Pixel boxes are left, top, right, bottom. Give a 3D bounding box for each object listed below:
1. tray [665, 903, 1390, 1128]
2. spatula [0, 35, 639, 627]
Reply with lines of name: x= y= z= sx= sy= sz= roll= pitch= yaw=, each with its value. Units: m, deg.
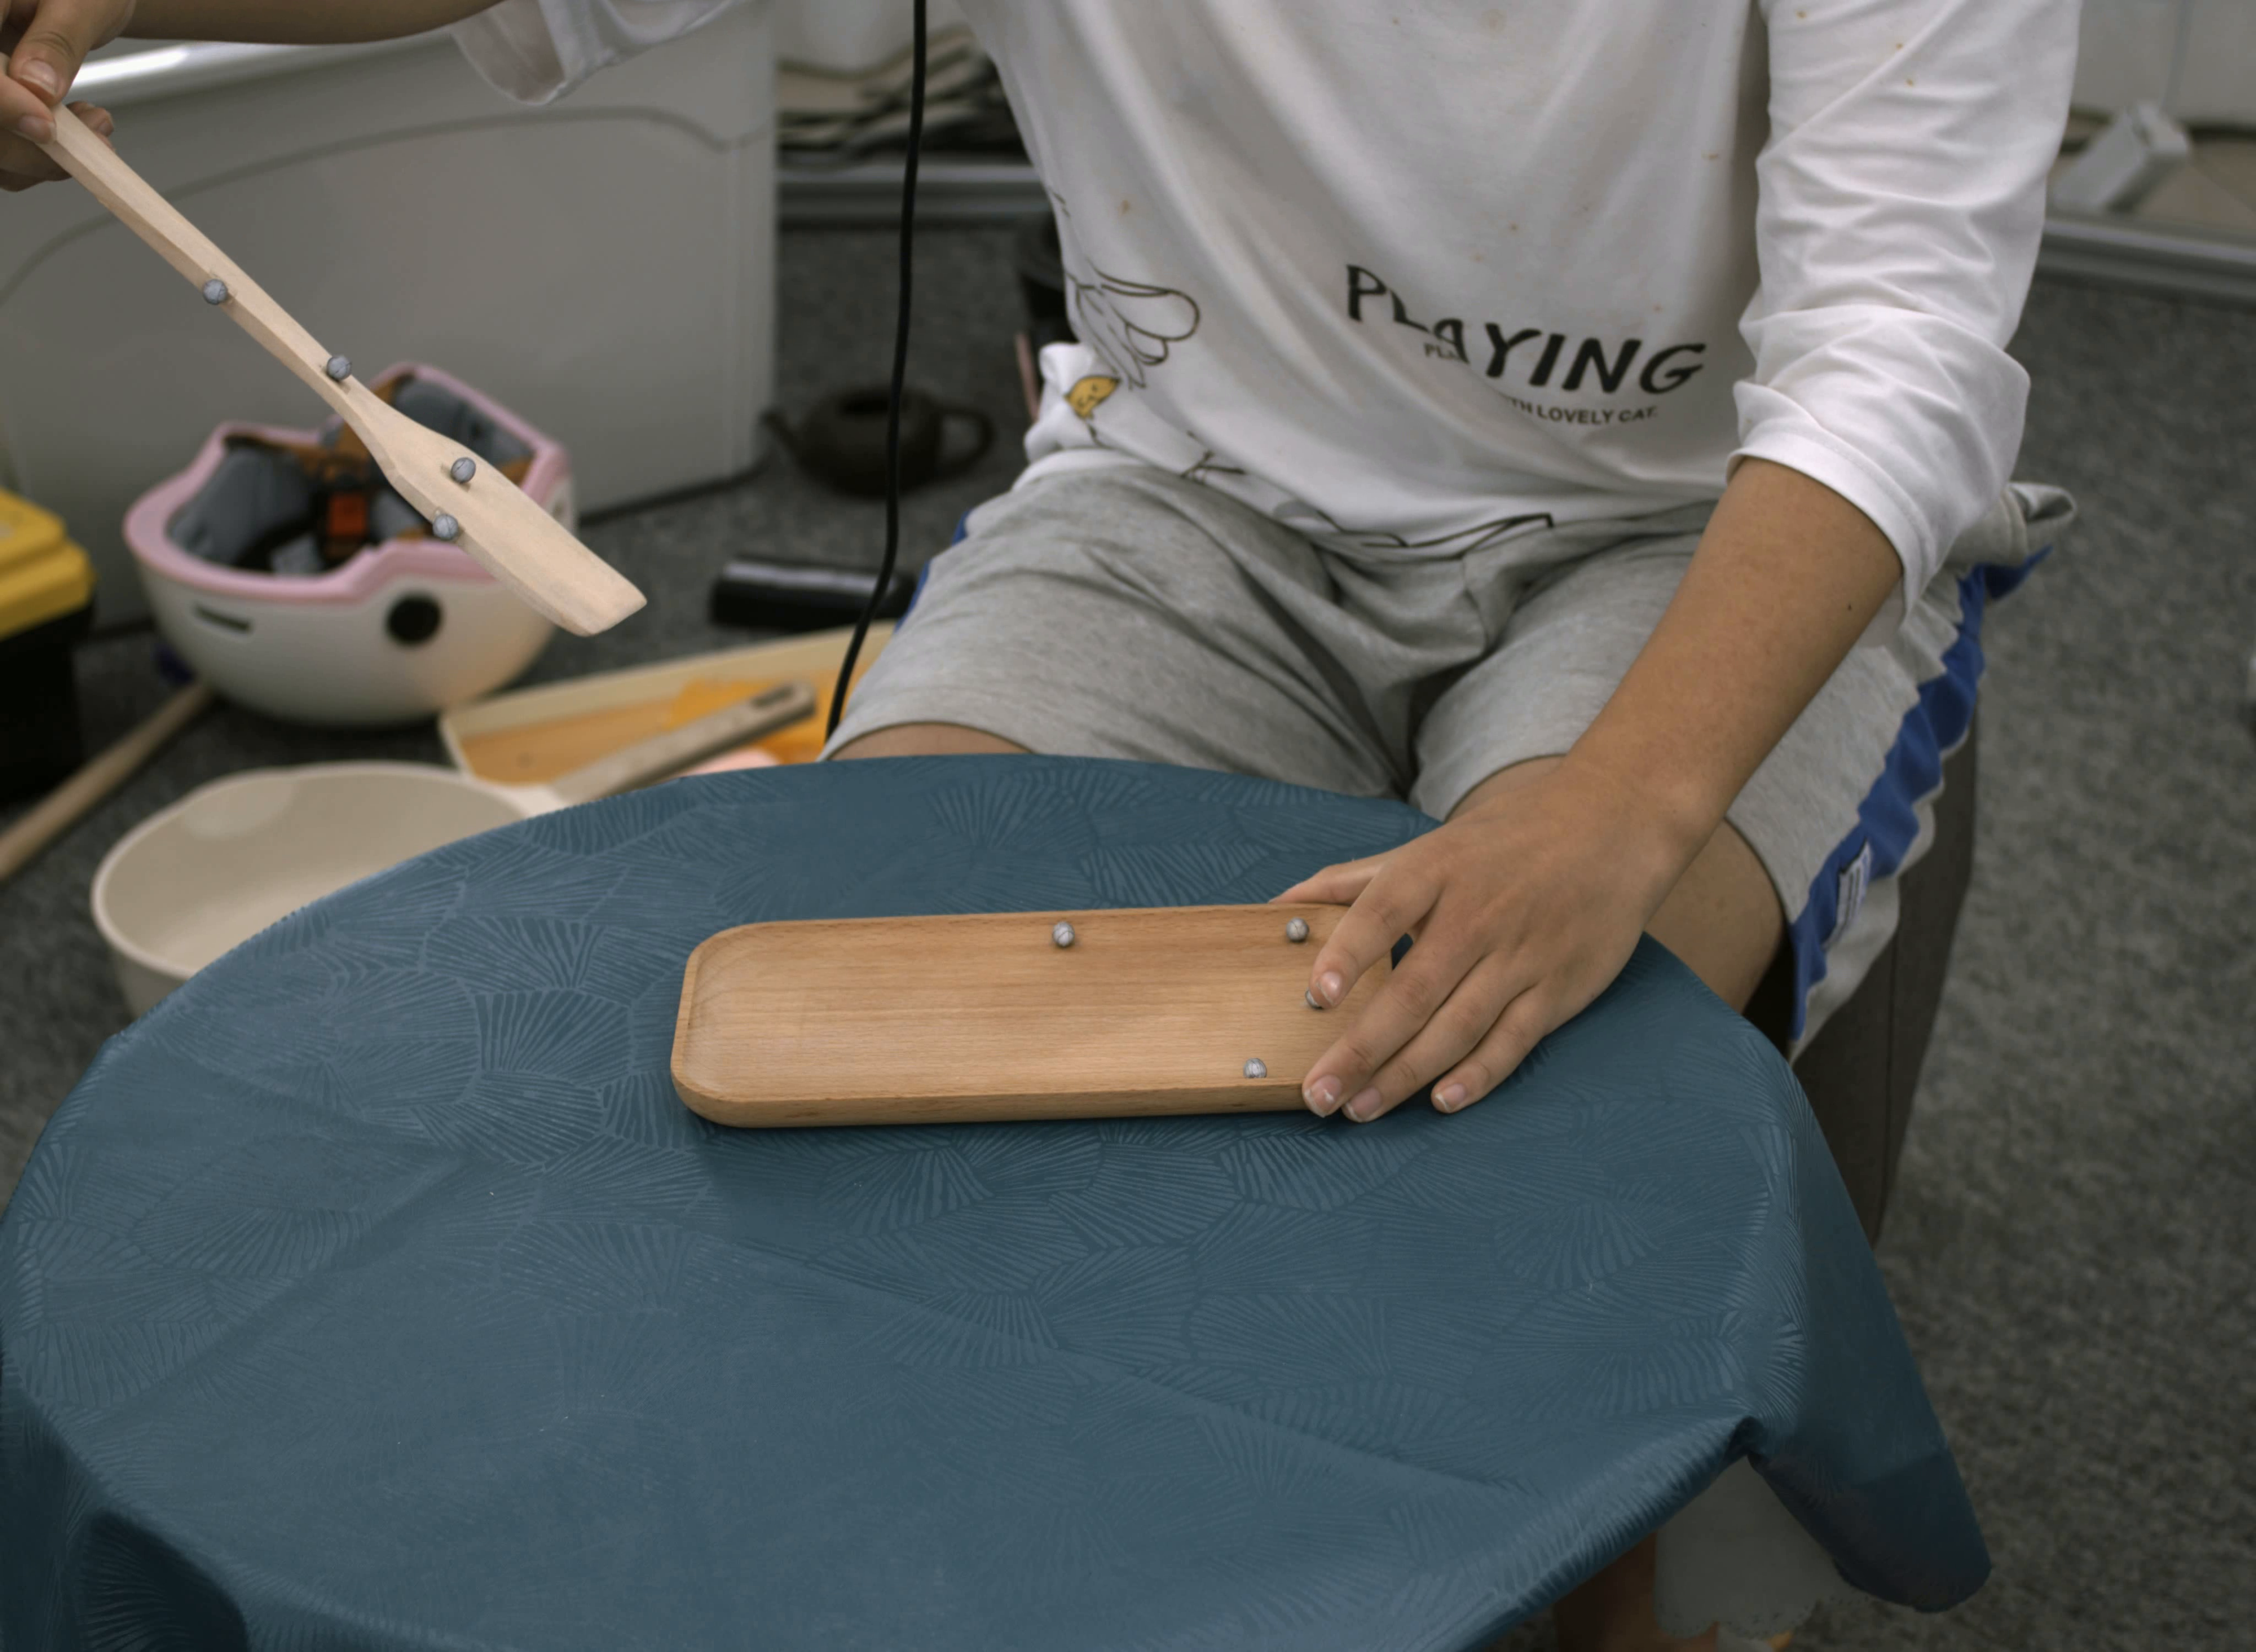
tray: x=-0.034 y=0.066 z=1.958 sx=0.249 sy=0.022 sz=0.132 roll=-2 pitch=25 yaw=3
spatula: x=-0.283 y=-0.167 z=1.893 sx=0.293 sy=0.010 sz=0.073 roll=42 pitch=18 yaw=2
